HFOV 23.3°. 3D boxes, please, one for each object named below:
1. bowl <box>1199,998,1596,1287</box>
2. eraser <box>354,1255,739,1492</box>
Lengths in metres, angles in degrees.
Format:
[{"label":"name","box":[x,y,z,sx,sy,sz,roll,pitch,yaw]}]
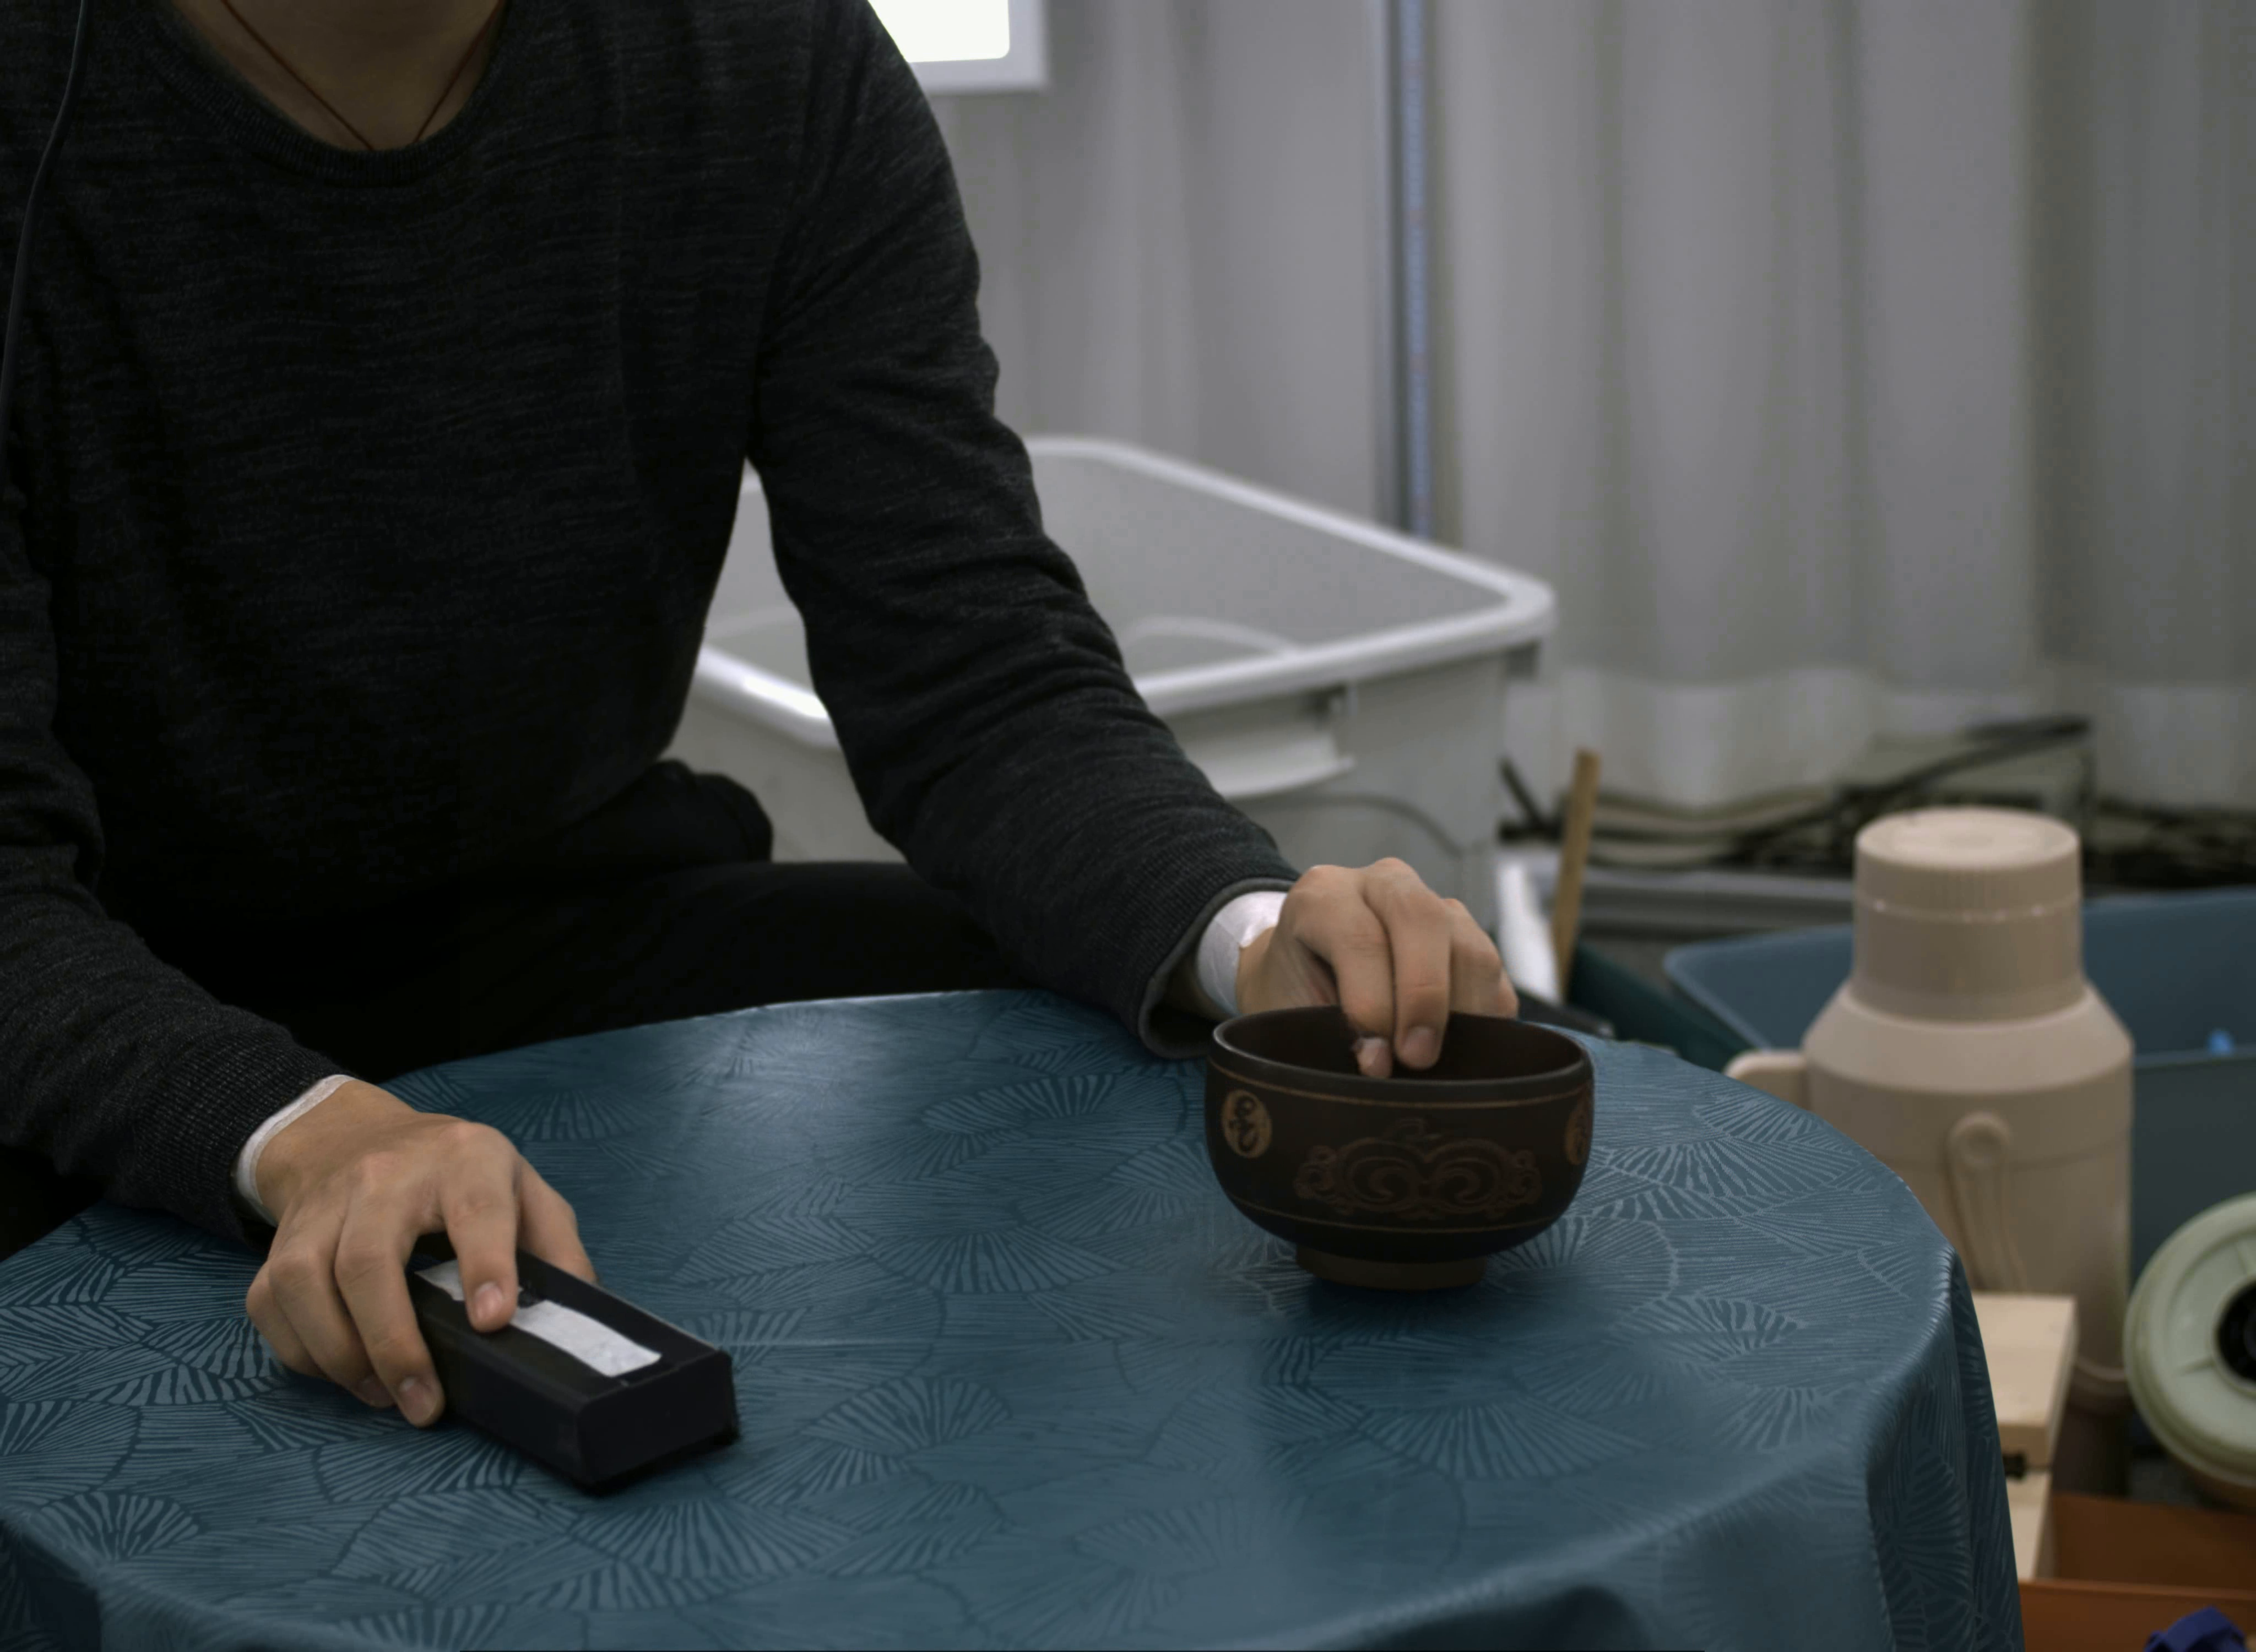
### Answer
[{"label":"bowl","box":[0.079,0.096,1.617,0.117,0.070,0.118,2,9,-1]},{"label":"eraser","box":[-0.164,0.153,1.541,0.053,0.030,0.126,-14,19,-35]}]
